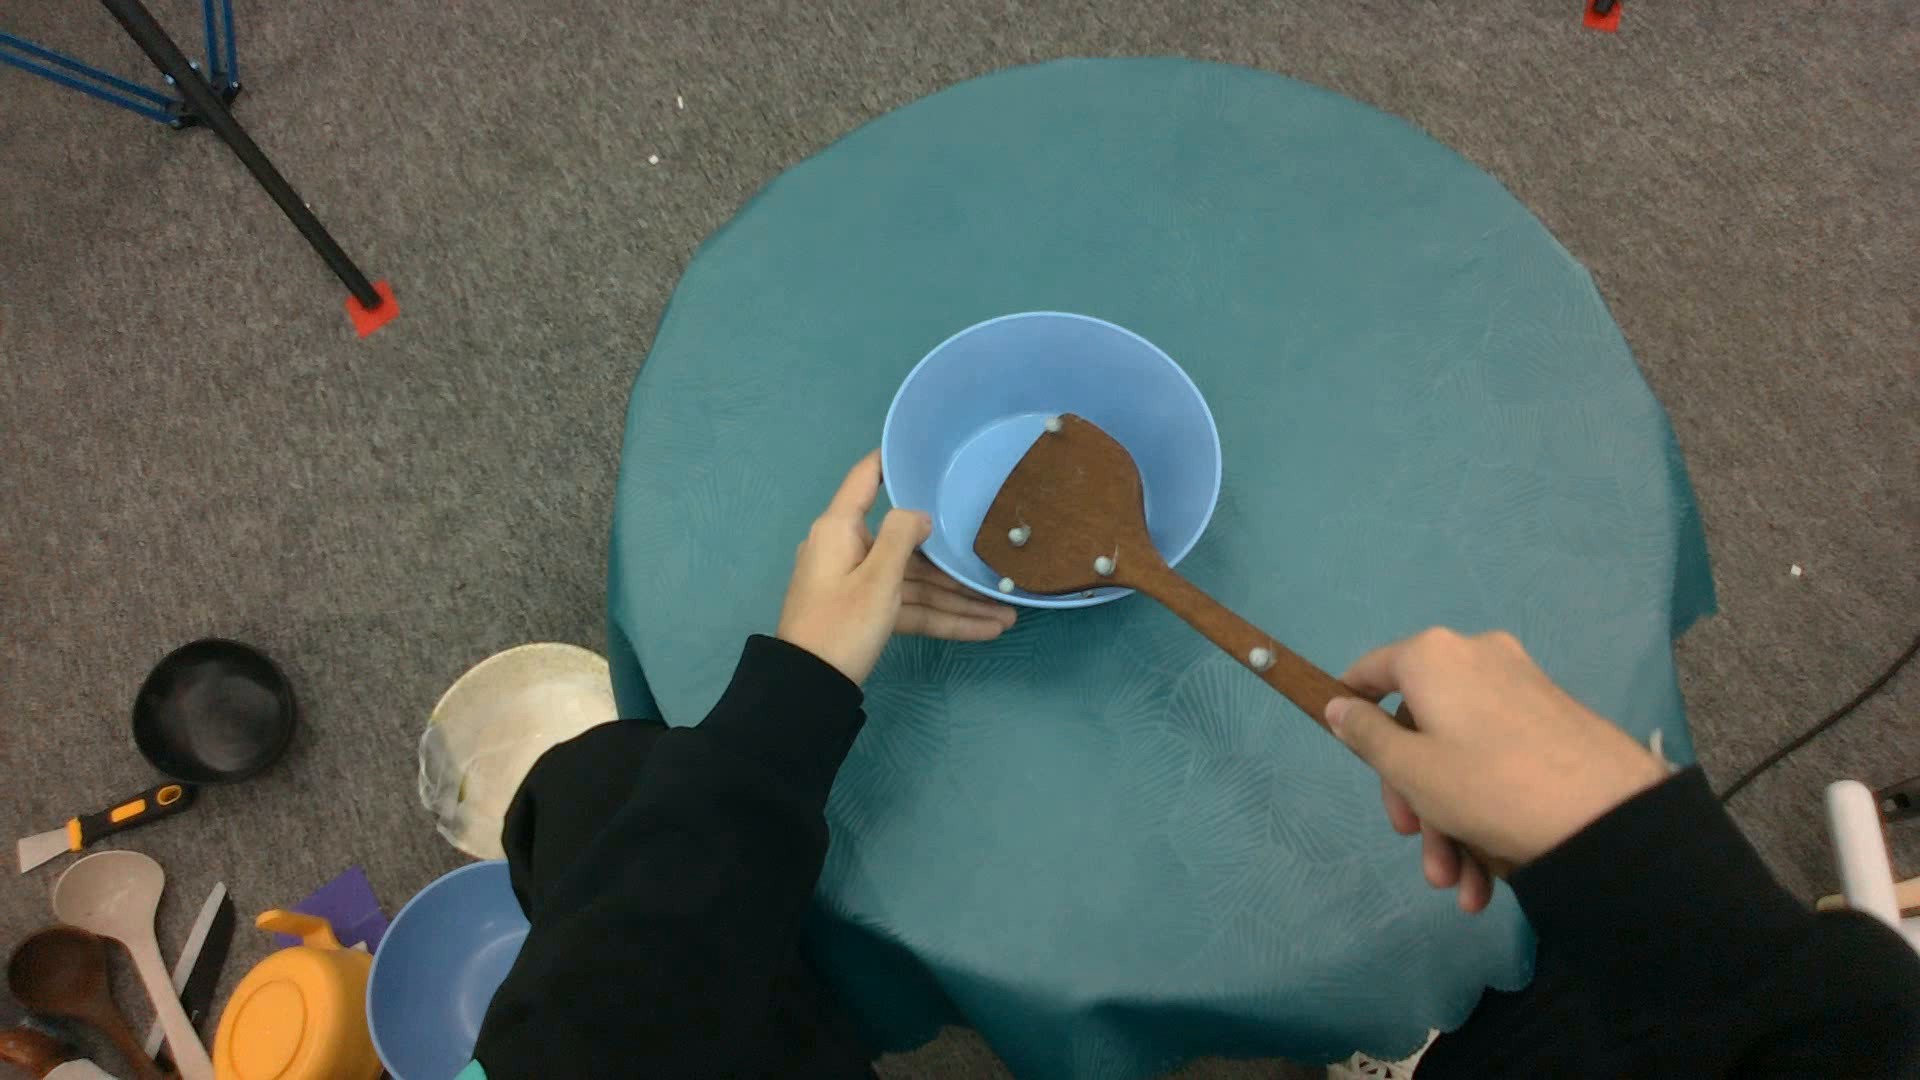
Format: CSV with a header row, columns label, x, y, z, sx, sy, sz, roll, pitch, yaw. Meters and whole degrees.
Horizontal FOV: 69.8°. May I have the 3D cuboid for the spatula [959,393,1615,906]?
label,x,y,z,sx,sy,sz,roll,pitch,yaw
spatula,0.114,0.034,0.593,0.096,0.016,0.386,-54,39,4

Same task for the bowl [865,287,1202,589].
label,x,y,z,sx,sy,sz,roll,pitch,yaw
bowl,0.038,-0.045,0.739,0.176,0.070,0.176,1,66,-1
